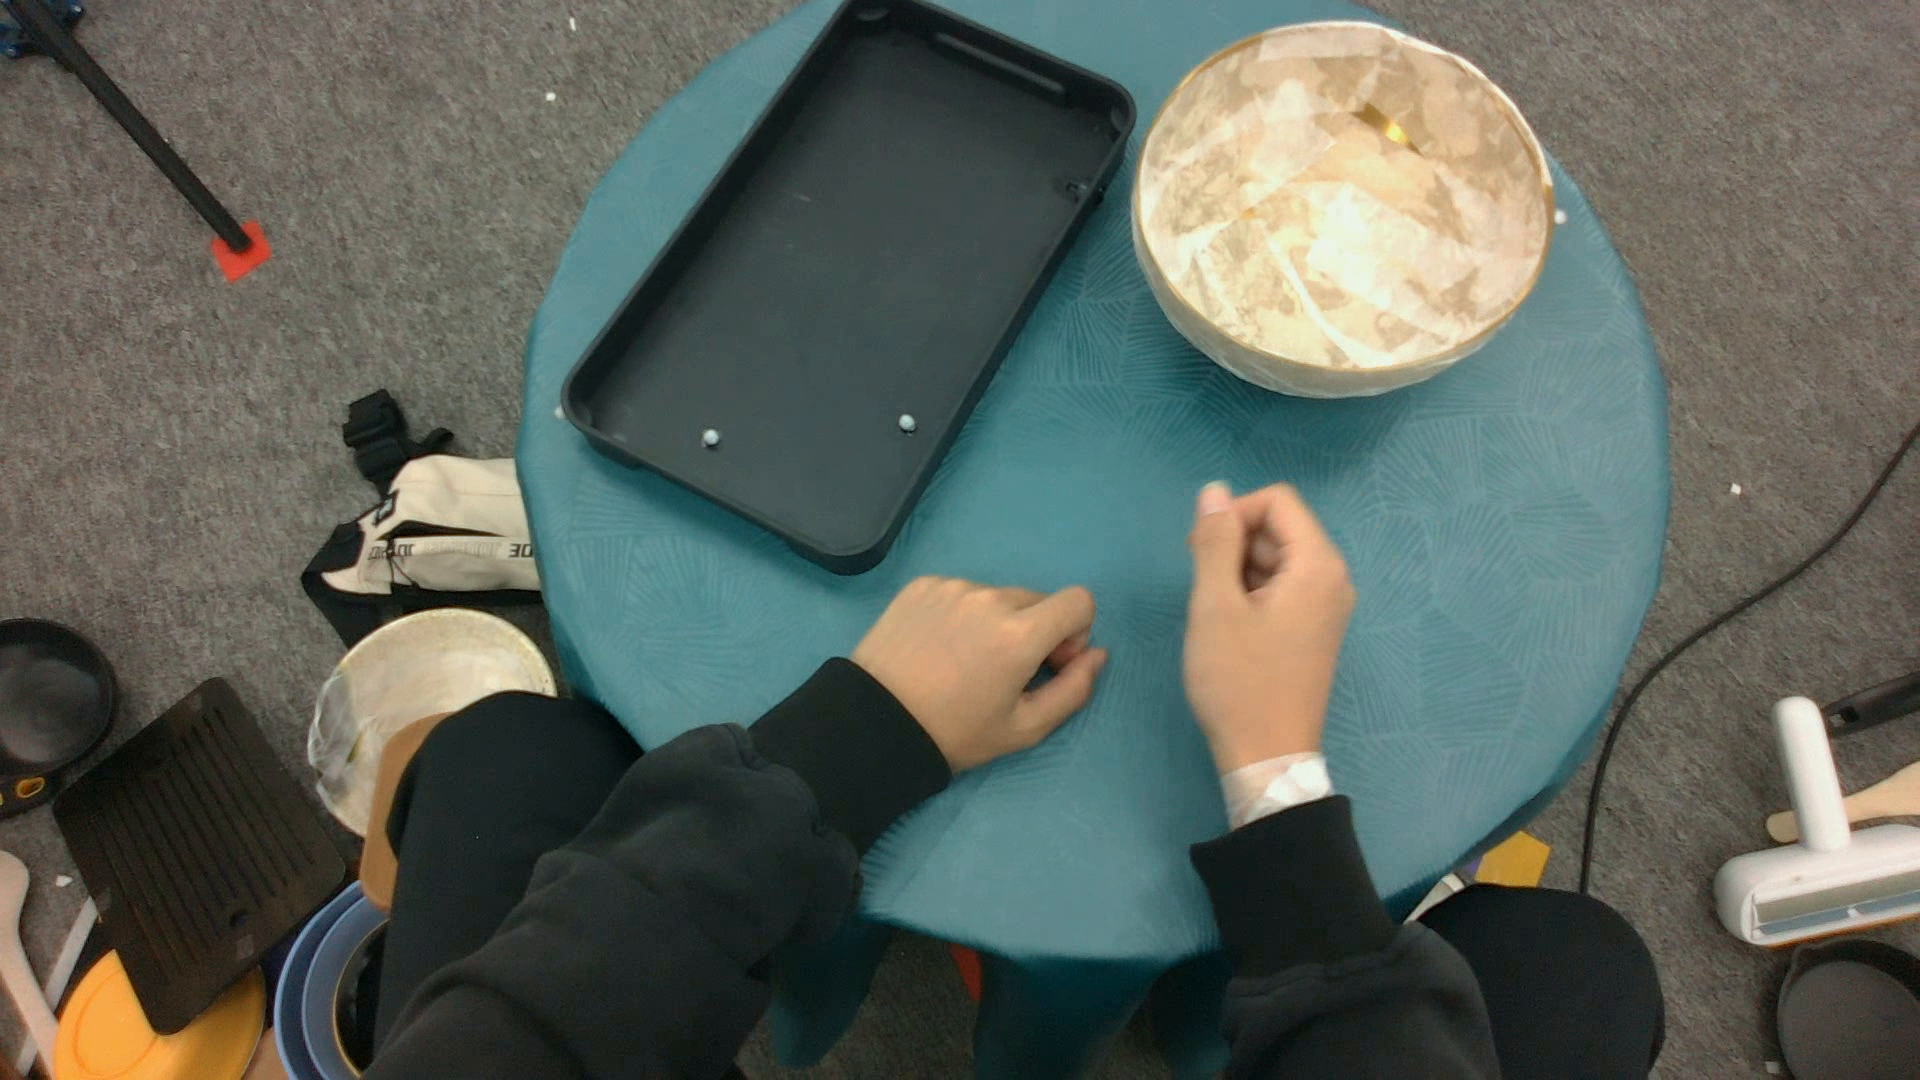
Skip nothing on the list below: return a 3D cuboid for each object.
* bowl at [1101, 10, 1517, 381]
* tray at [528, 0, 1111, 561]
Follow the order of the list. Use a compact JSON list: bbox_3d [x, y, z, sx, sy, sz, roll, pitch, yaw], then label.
[{"bbox_3d":[0.166,-0.161,0.708,0.215,0.094,0.215,0,68,-1],"label":"bowl"},{"bbox_3d":[-0.066,-0.153,0.733,0.184,0.037,0.319,27,68,10],"label":"tray"}]
